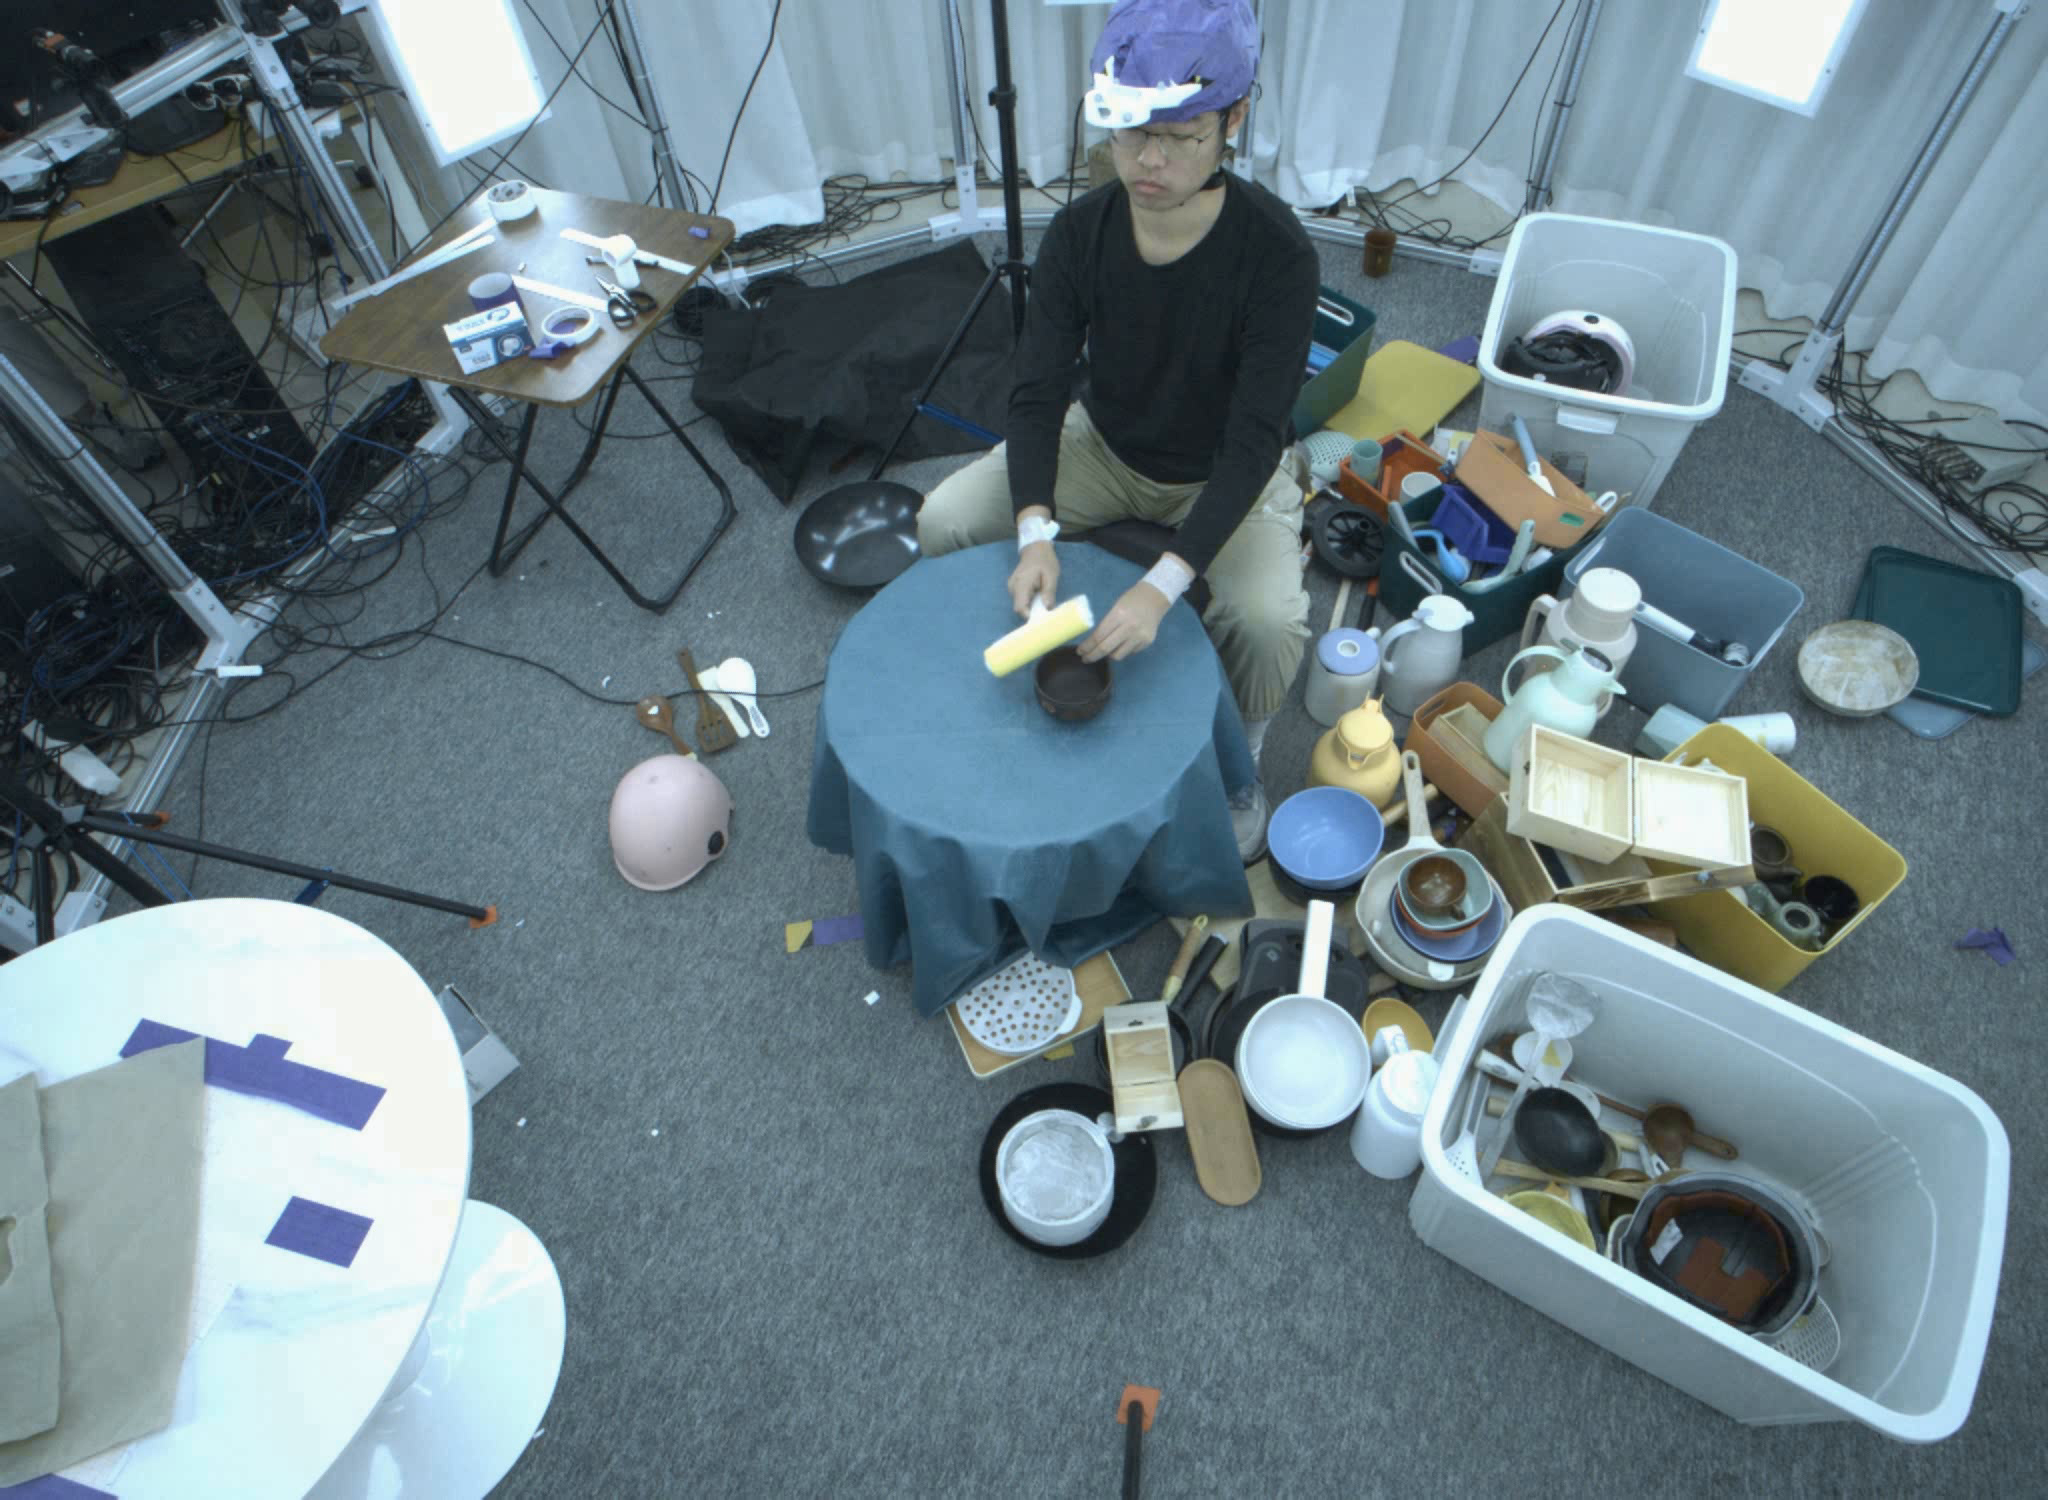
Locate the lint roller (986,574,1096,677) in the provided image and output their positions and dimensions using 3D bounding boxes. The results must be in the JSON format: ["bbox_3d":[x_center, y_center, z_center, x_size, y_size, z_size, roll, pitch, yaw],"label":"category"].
[{"bbox_3d":[0.014,-0.213,1.837,0.173,0.052,0.189,-29,45,17],"label":"lint roller"}]

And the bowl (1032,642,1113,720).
[{"bbox_3d":[0.072,-0.093,1.805,0.118,0.070,0.117,0,56,1],"label":"bowl"}]
